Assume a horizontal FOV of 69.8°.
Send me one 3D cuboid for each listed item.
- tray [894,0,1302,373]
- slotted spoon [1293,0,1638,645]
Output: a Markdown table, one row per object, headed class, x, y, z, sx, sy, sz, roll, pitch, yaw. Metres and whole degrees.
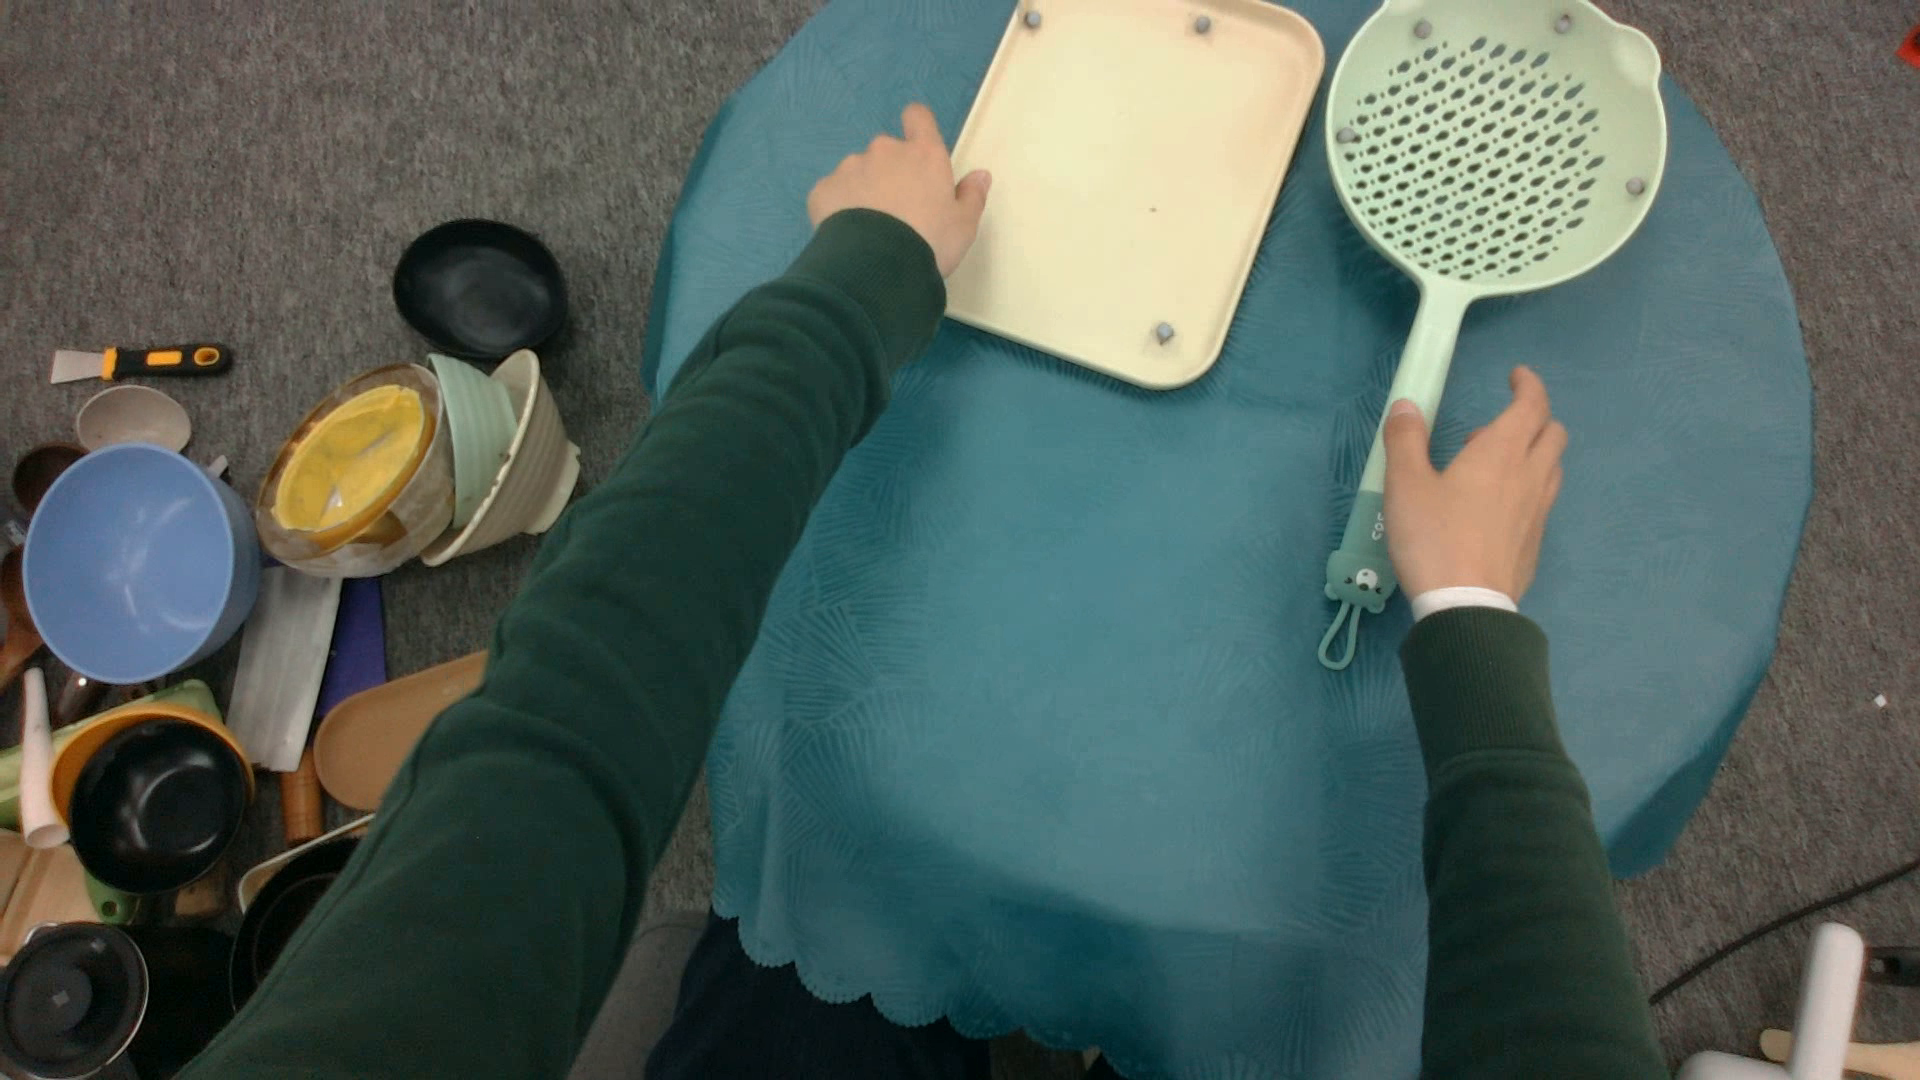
| class | x | y | z | sx | sy | sz | roll | pitch | yaw |
| --- | --- | --- | --- | --- | --- | --- | --- | --- | --- |
| tray | 0.077 | -0.211 | 0.743 | 0.171 | 0.017 | 0.240 | 20 | 74 | 5 |
| slotted spoon | 0.229 | -0.121 | 0.695 | 0.169 | 0.075 | 0.360 | 18 | 73 | 5 |
